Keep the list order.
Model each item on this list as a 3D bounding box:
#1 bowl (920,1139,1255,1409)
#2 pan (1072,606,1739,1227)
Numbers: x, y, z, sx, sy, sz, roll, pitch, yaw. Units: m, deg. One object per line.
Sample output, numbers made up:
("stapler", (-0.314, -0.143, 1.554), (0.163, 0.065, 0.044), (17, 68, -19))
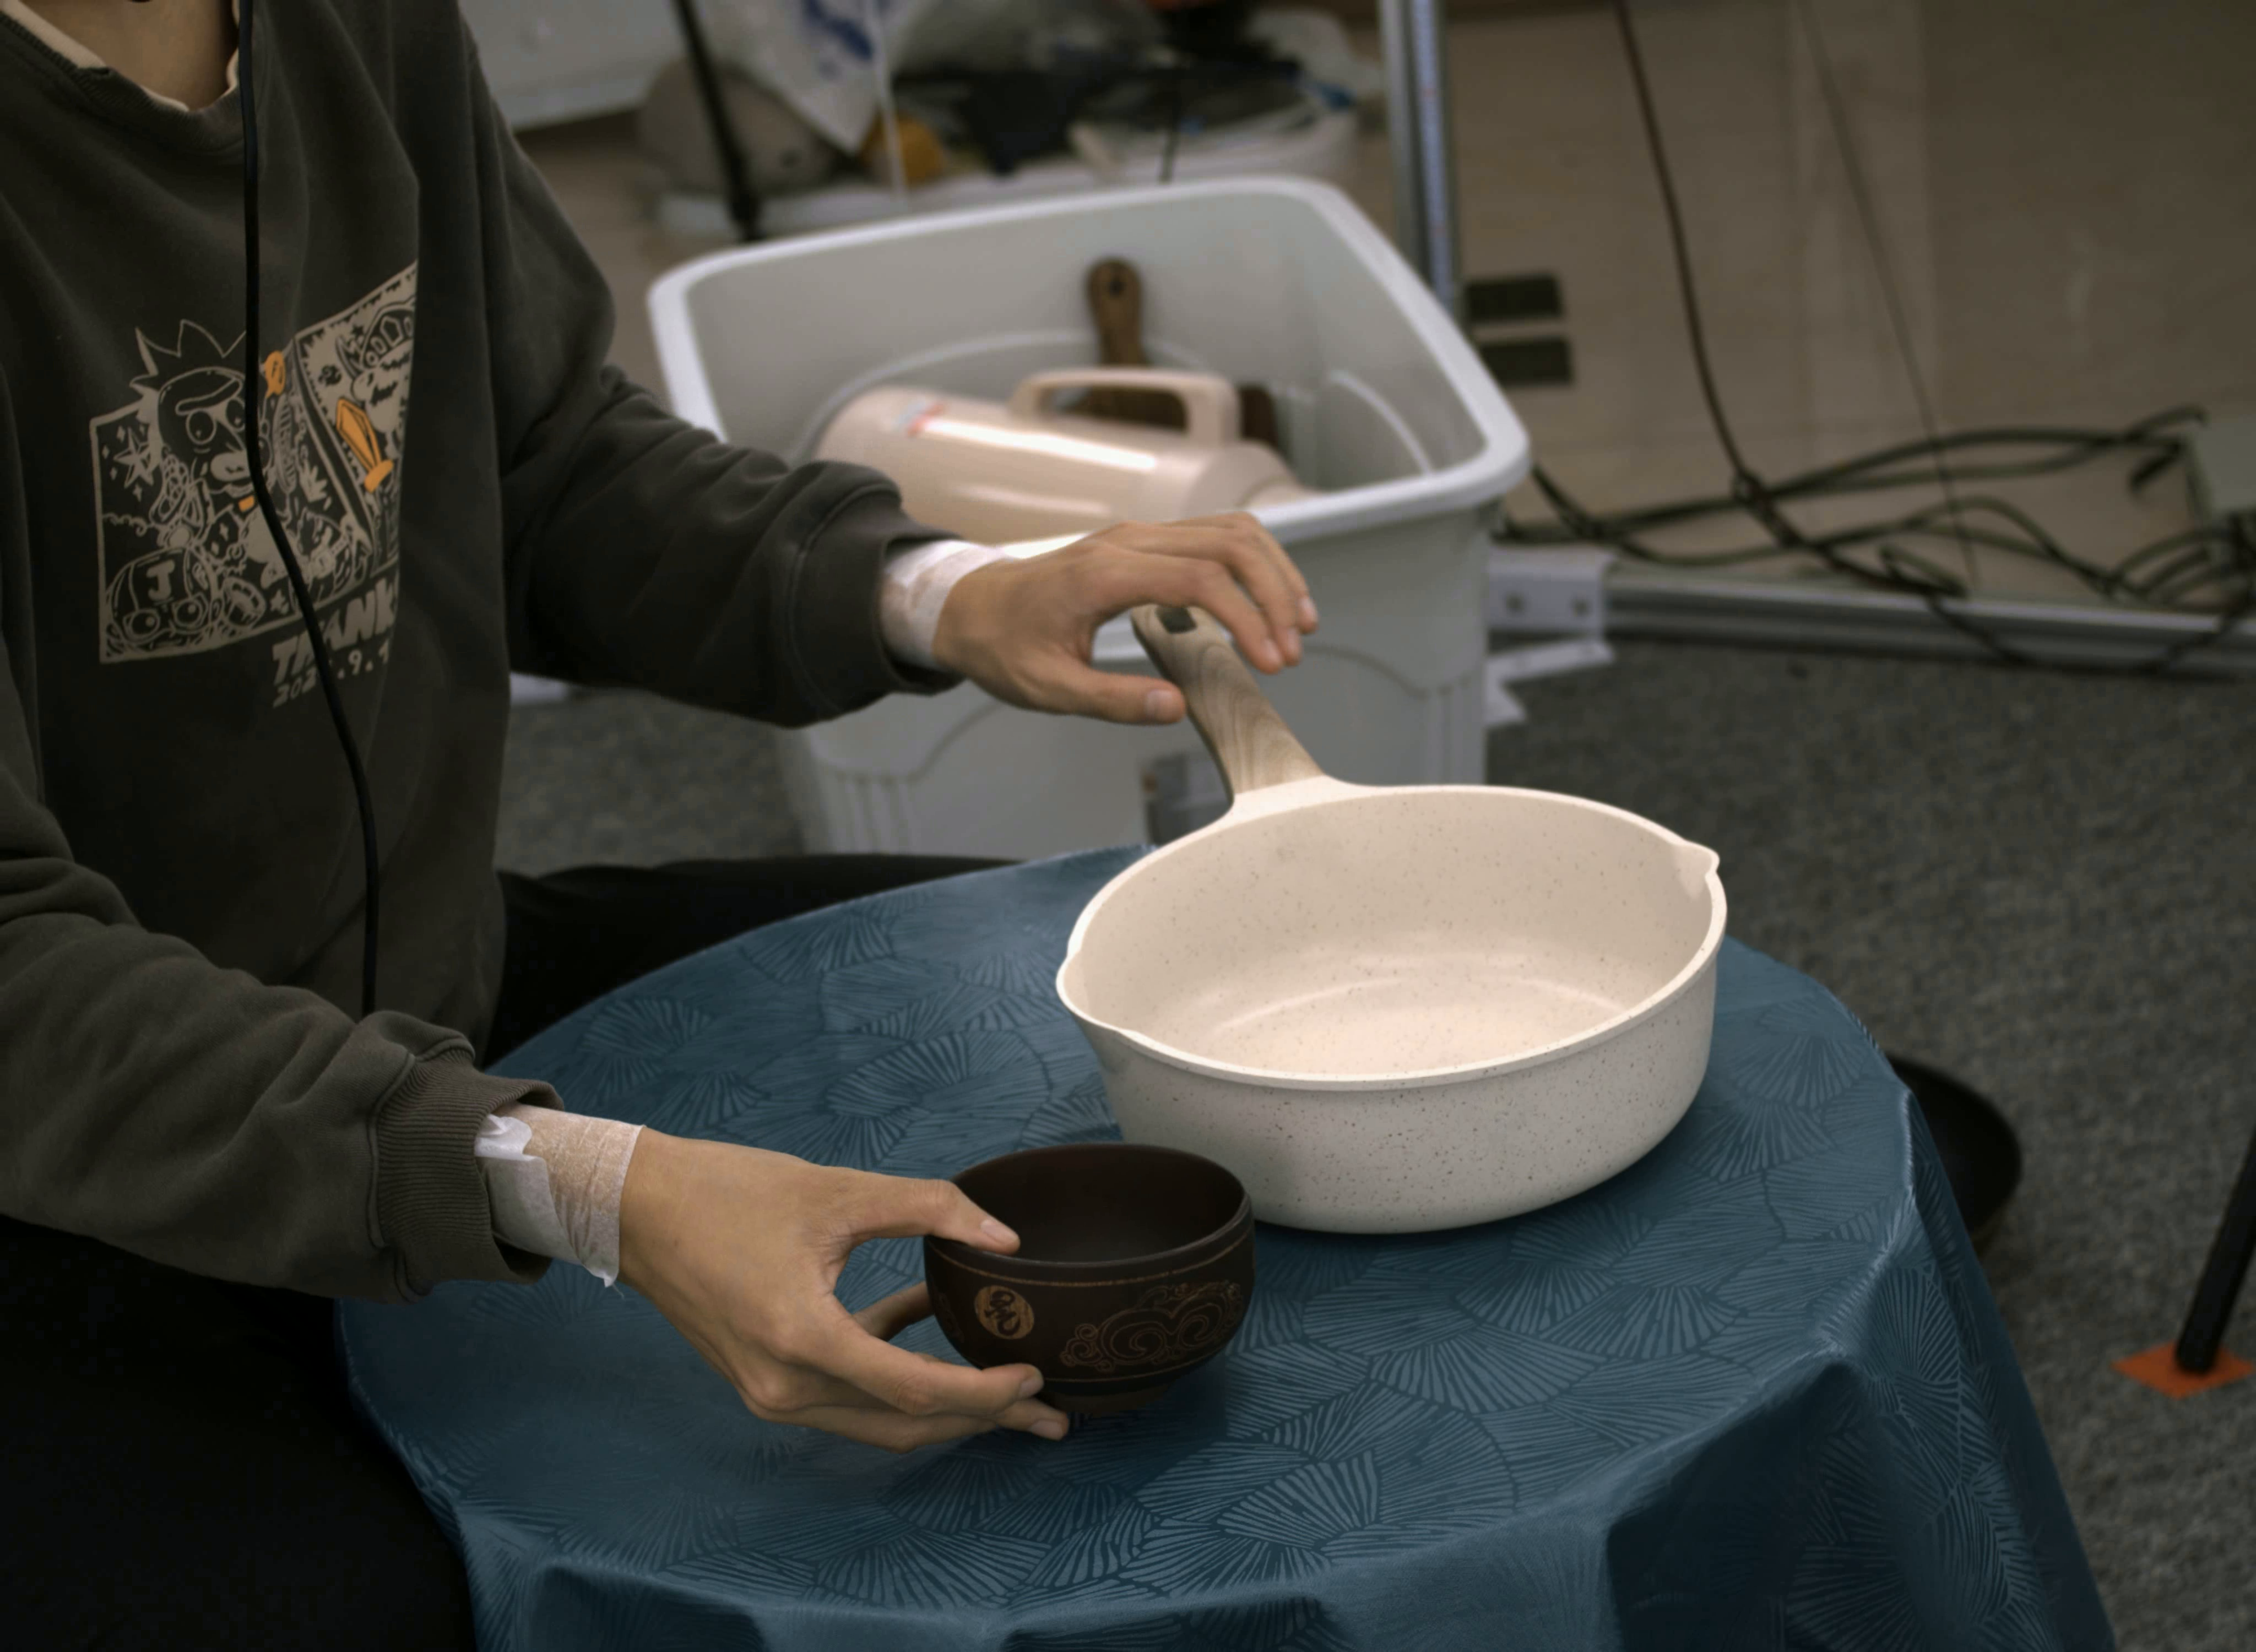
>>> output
("bowl", (-0.013, 0.162, 1.996), (0.118, 0.071, 0.116), (-3, 19, 1))
("pan", (0.083, 0.031, 2.240), (0.262, 0.103, 0.429), (-14, 26, -12))
